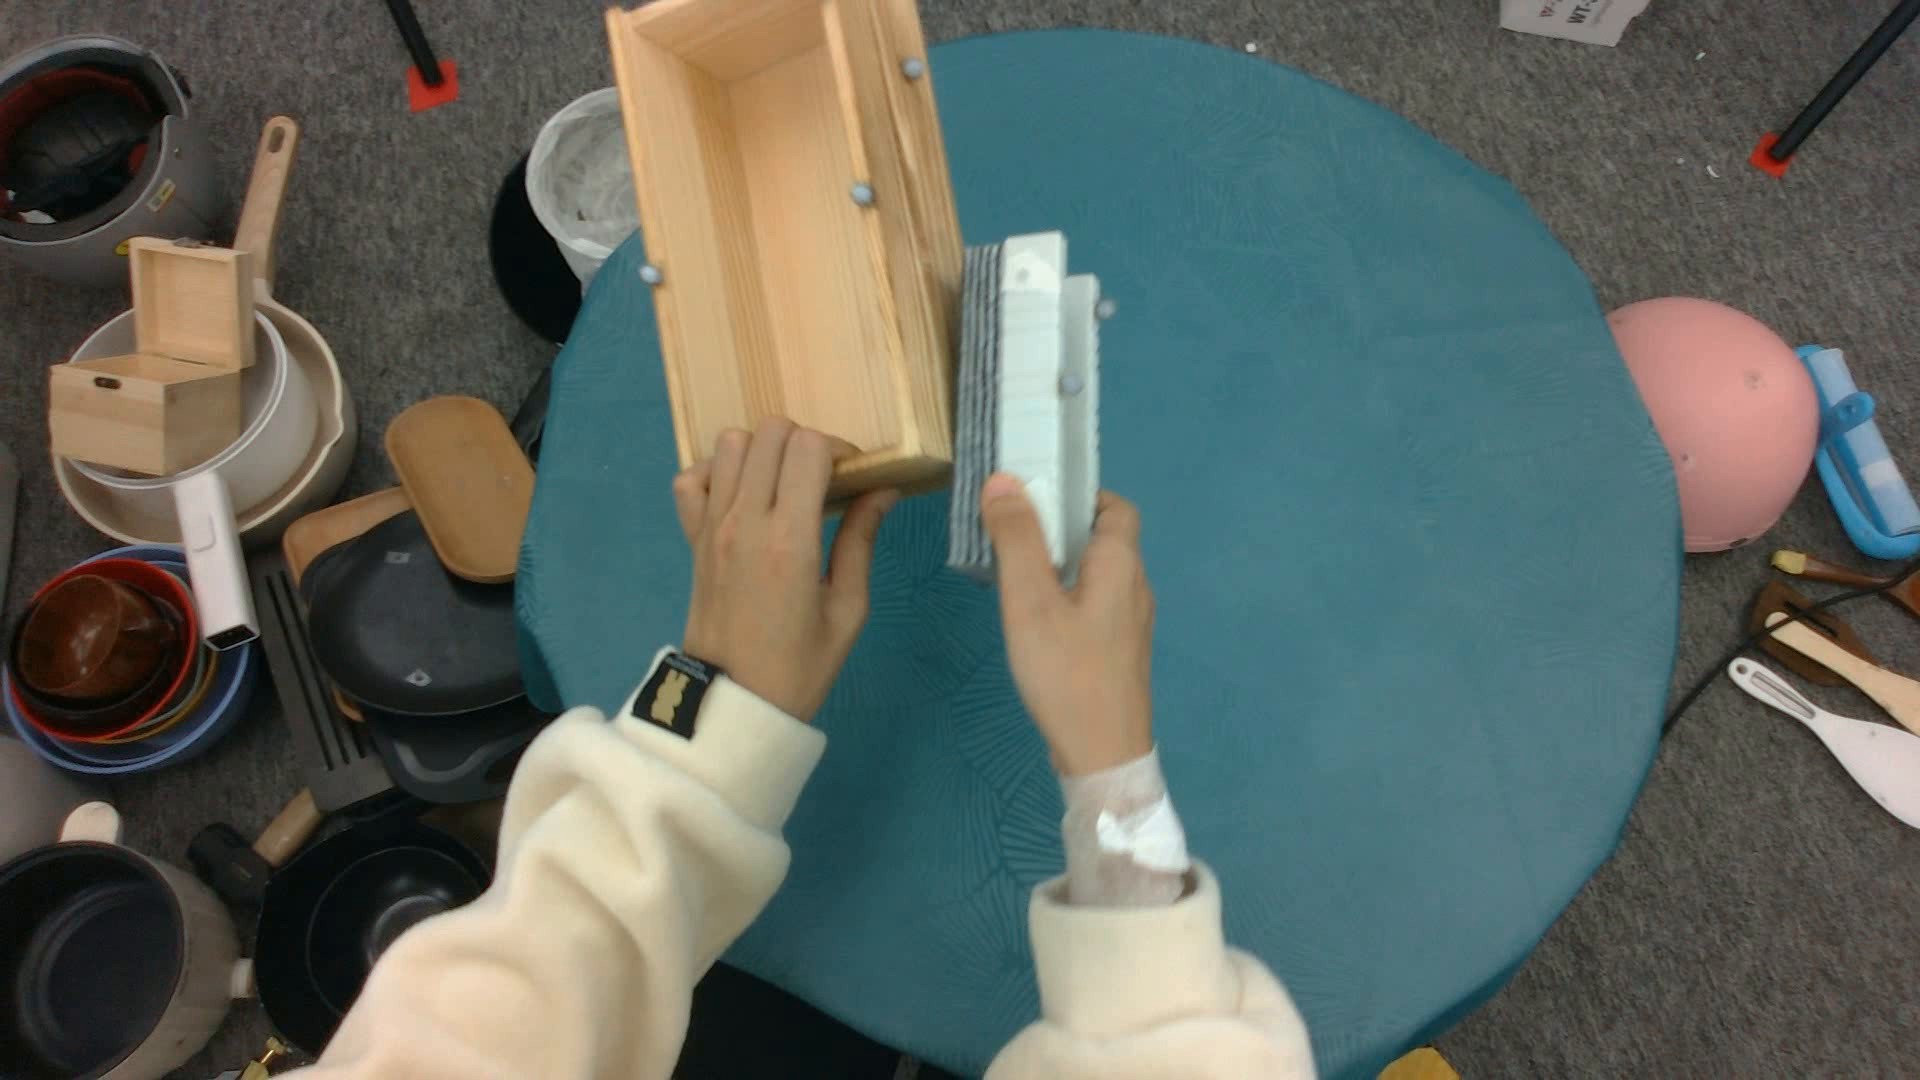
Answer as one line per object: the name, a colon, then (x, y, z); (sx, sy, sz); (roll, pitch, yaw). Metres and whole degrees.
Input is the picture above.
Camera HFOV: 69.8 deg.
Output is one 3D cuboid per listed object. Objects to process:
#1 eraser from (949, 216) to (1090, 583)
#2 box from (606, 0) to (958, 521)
eraser: (0.024, -0.053, 0.540); (0.046, 0.050, 0.134); (-5, 76, 21)
box: (-0.066, -0.123, 0.568); (0.107, 0.080, 0.211); (-14, 81, 23)
